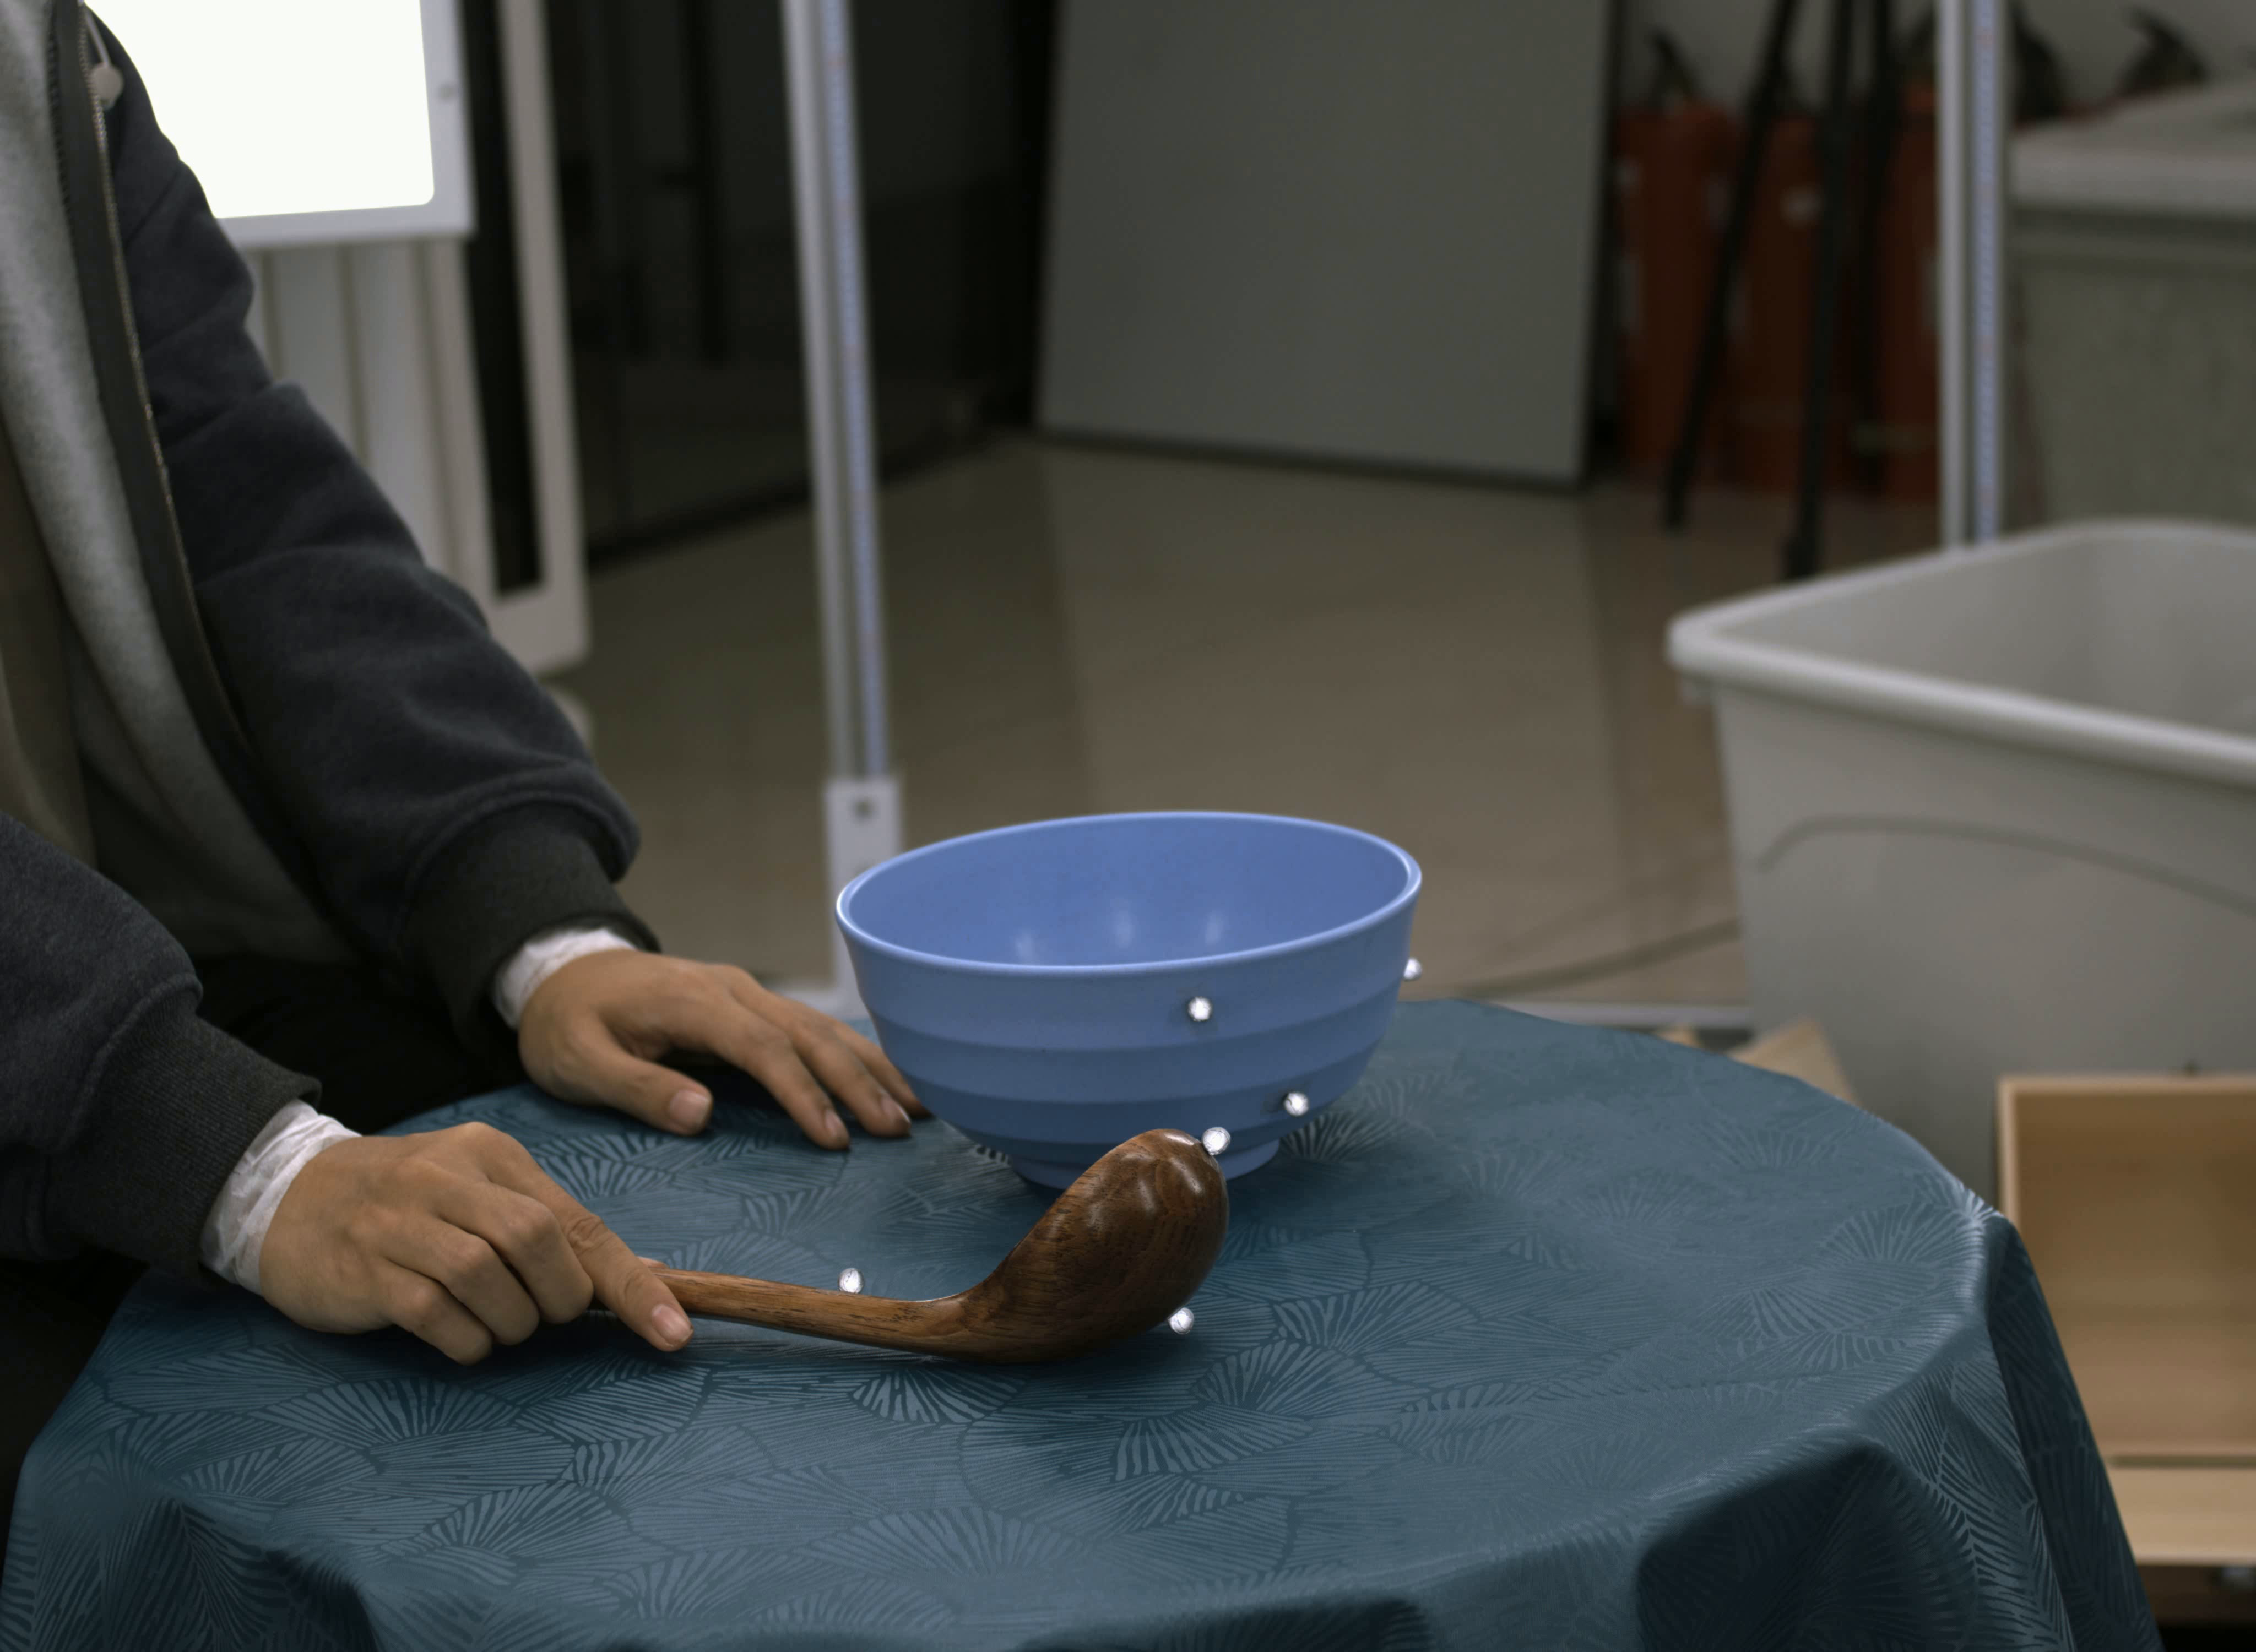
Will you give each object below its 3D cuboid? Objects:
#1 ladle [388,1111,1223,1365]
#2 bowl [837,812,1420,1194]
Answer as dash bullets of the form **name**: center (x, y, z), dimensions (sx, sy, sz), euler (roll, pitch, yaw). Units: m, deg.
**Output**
- **ladle**: center (-0.101, 0.120, 1.646), dimensions (0.274, 0.077, 0.081), euler (1, -21, 25)
- **bowl**: center (0.003, 0.066, 1.797), dimensions (0.194, 0.096, 0.197), euler (-5, 14, 0)
